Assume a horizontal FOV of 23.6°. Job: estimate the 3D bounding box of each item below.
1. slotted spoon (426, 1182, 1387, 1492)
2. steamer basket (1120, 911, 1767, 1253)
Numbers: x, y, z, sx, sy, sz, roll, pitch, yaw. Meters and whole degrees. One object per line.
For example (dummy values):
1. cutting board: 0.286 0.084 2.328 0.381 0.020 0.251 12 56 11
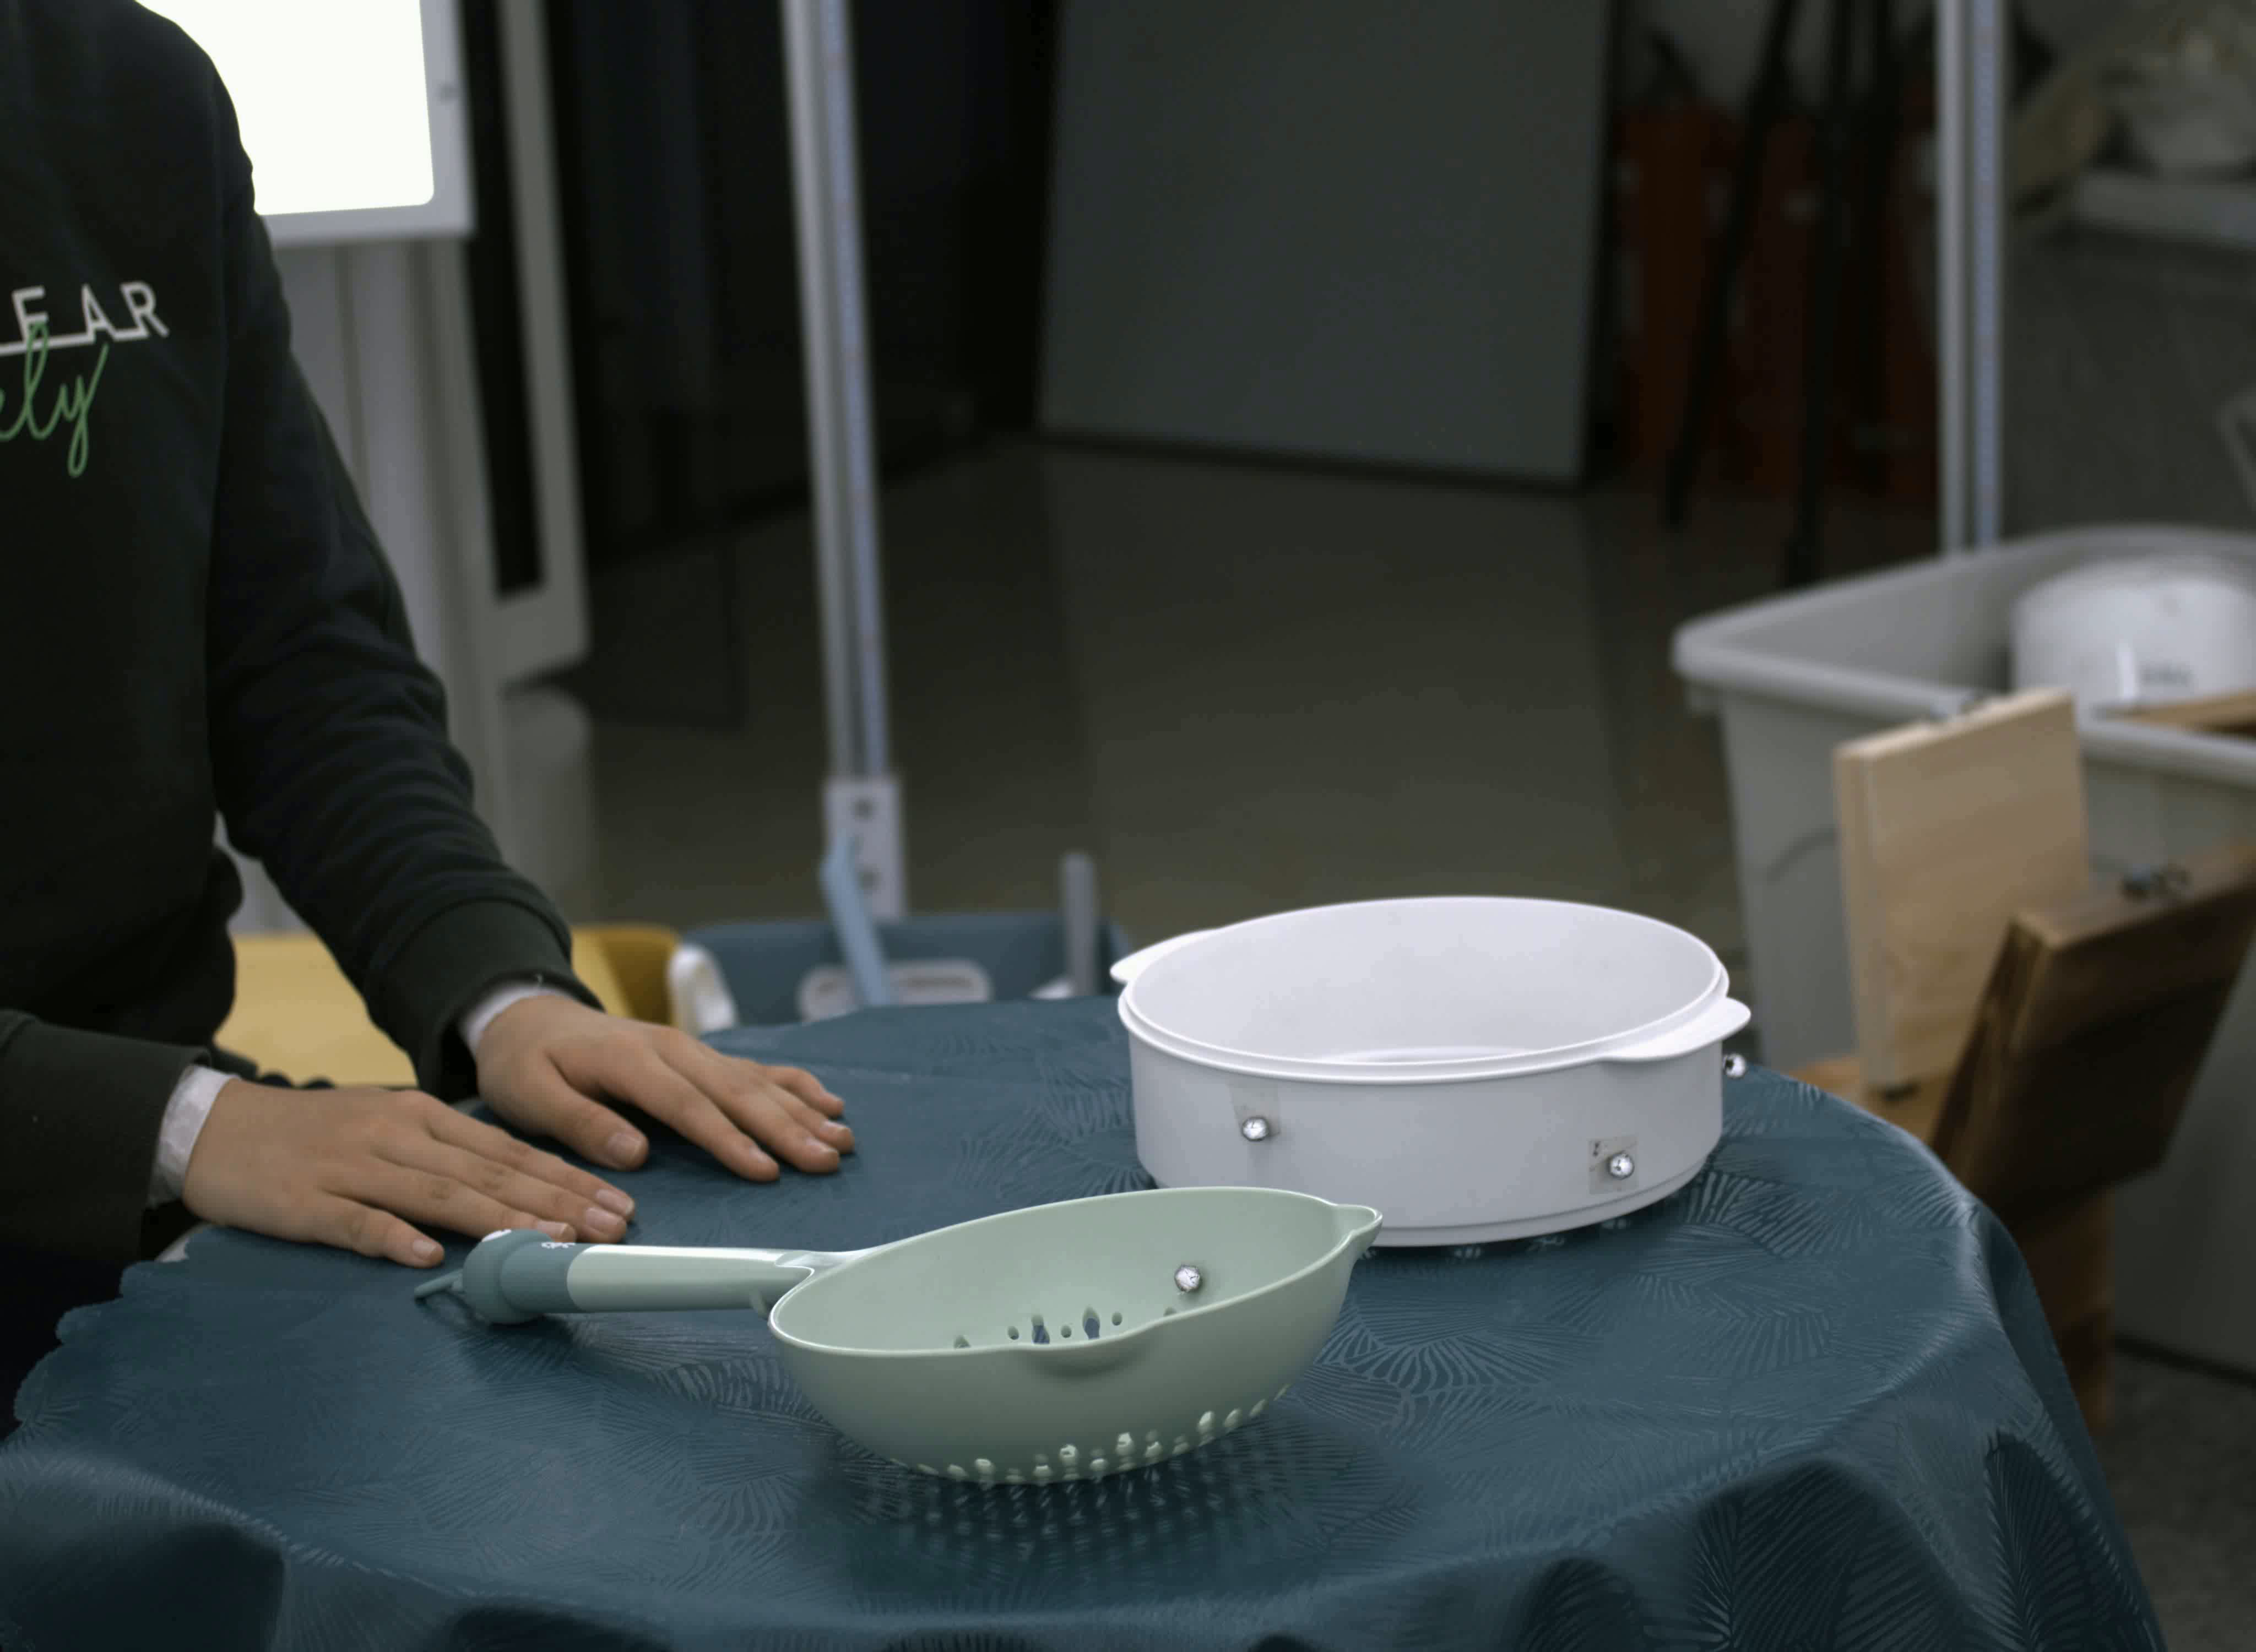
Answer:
1. slotted spoon: -0.087 0.139 1.589 0.362 0.076 0.166 8 18 41
2. steamer basket: 0.102 0.083 1.761 0.232 0.070 0.198 6 16 37
